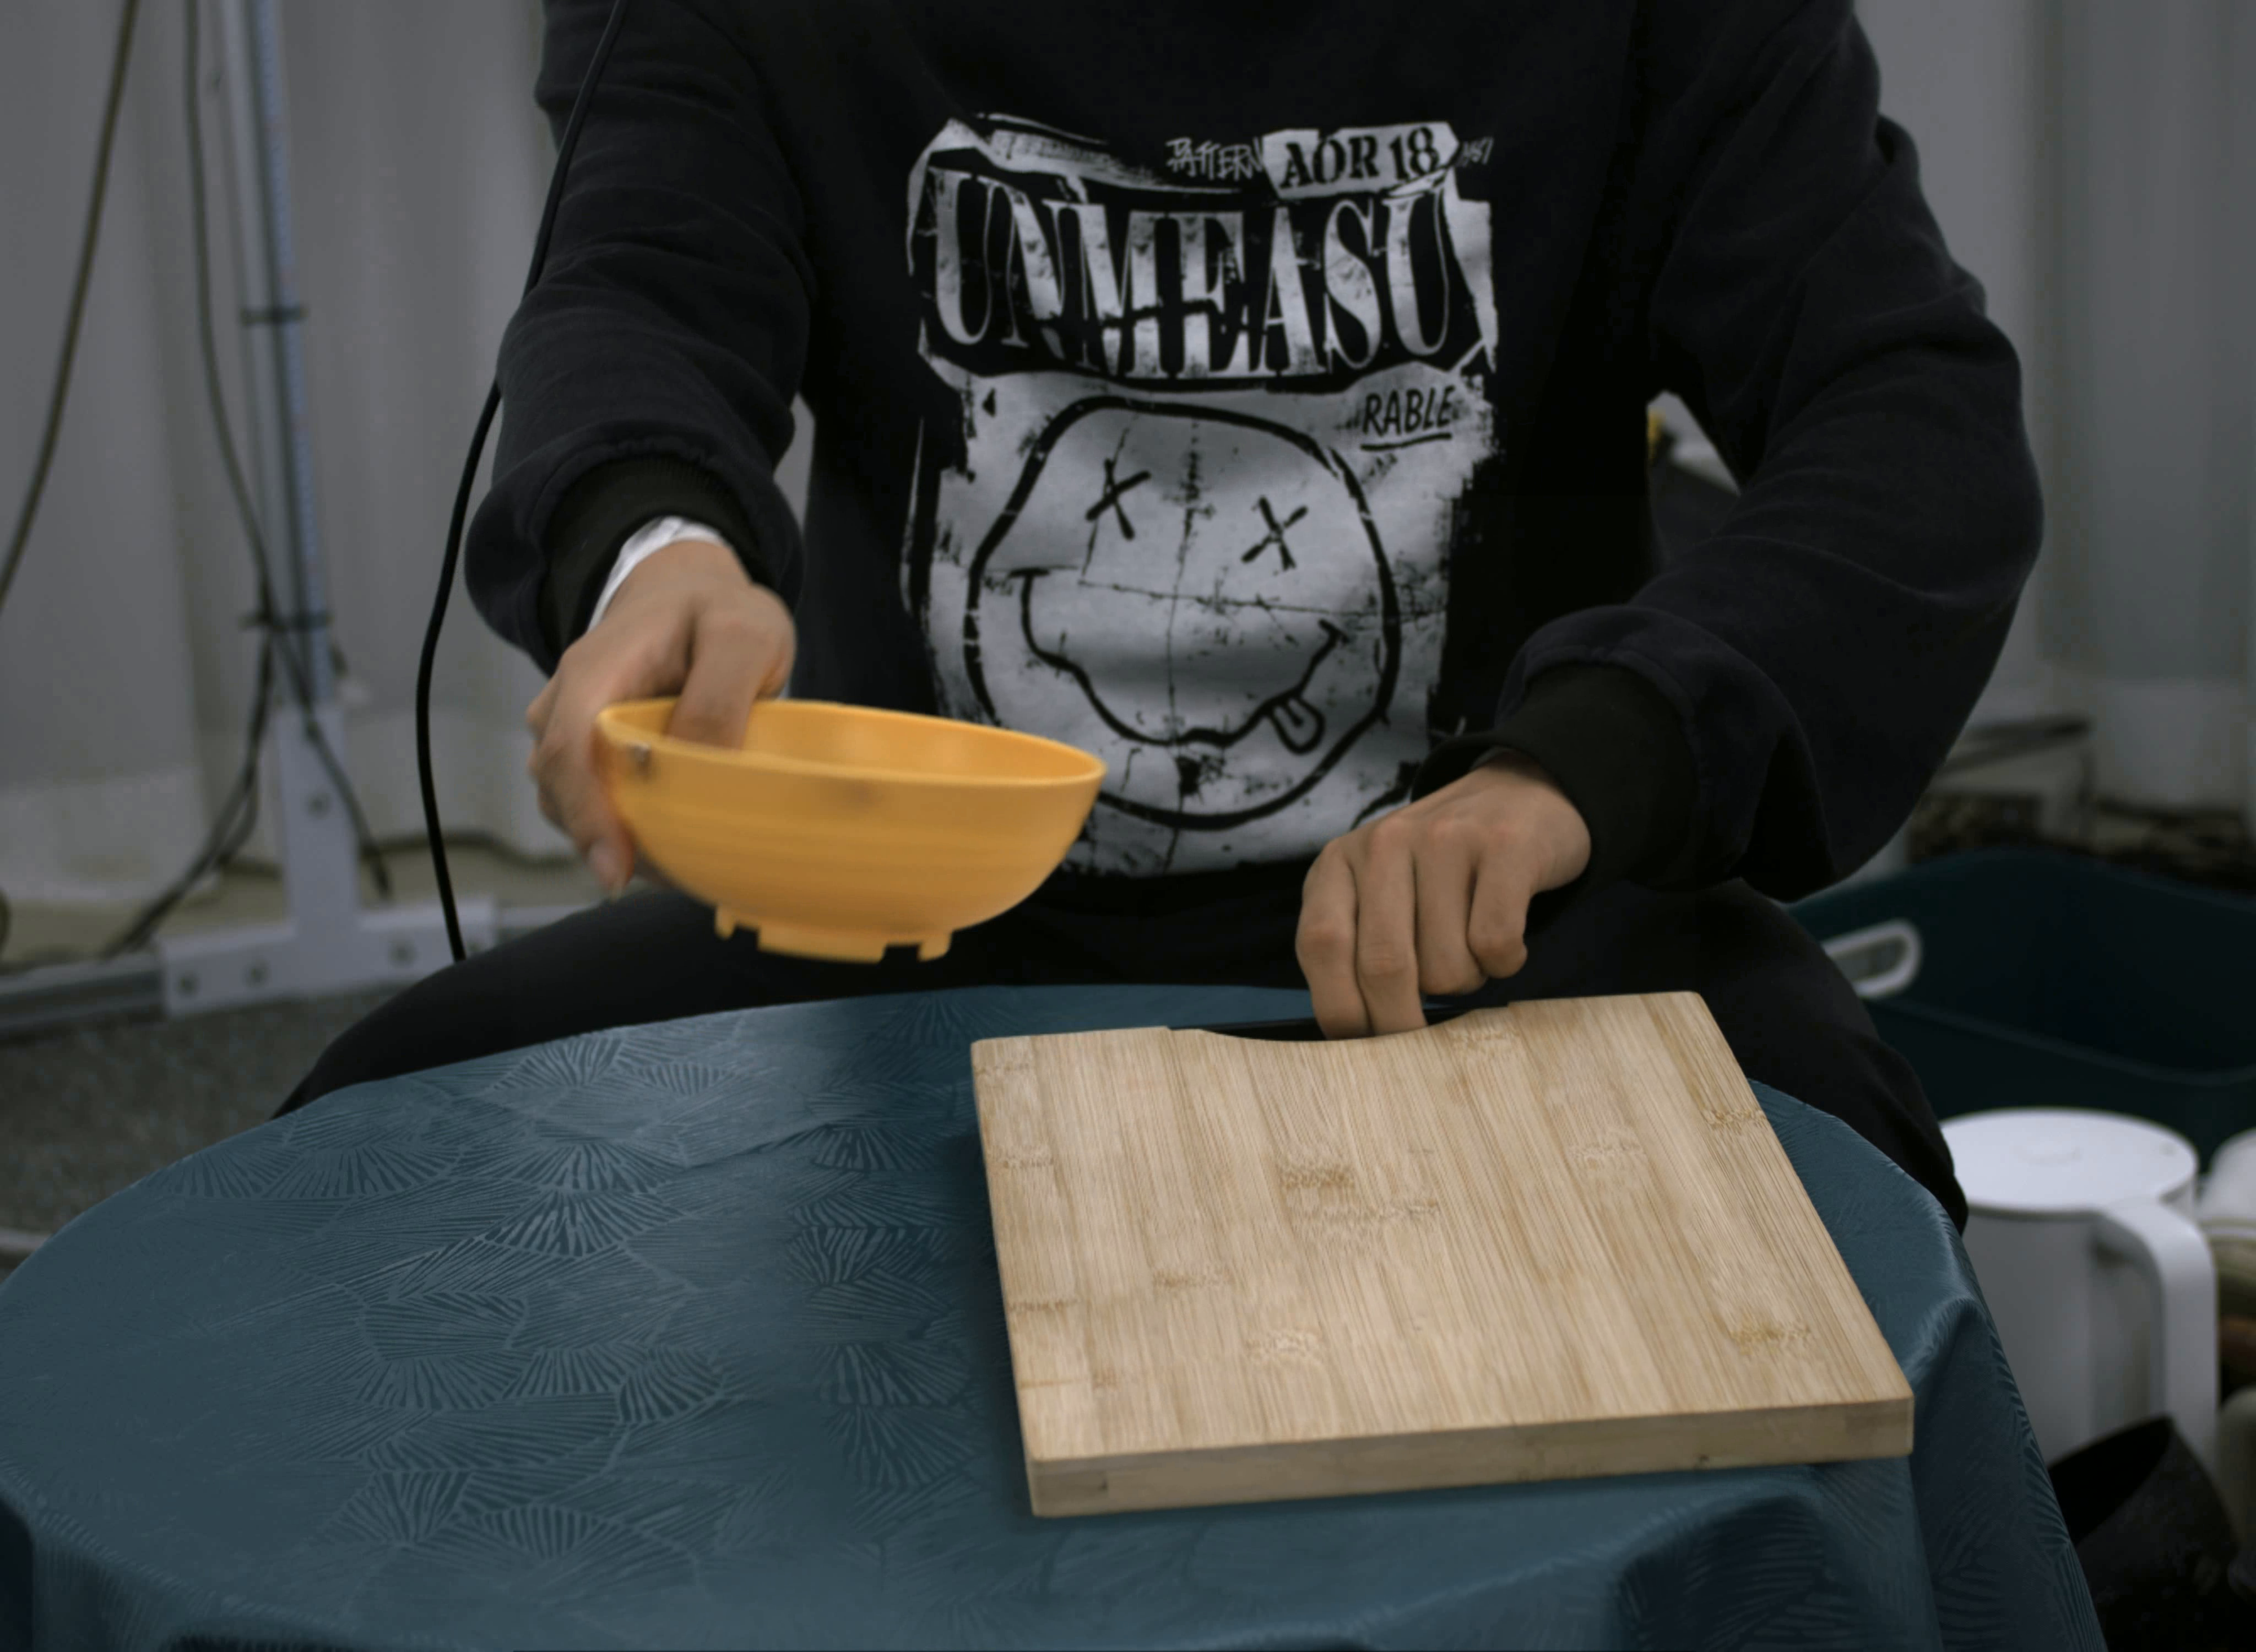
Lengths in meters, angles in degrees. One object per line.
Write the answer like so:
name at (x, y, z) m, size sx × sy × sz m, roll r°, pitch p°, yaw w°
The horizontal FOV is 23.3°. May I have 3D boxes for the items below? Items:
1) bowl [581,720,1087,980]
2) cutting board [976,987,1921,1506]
bowl at (-0.086, 0.009, 1.549) m, size 0.145 × 0.060 × 0.145 m, roll 6°, pitch 5°, yaw -1°
cutting board at (0.082, 0.119, 1.626) m, size 0.250 × 0.023 × 0.351 m, roll -4°, pitch 17°, yaw -4°
